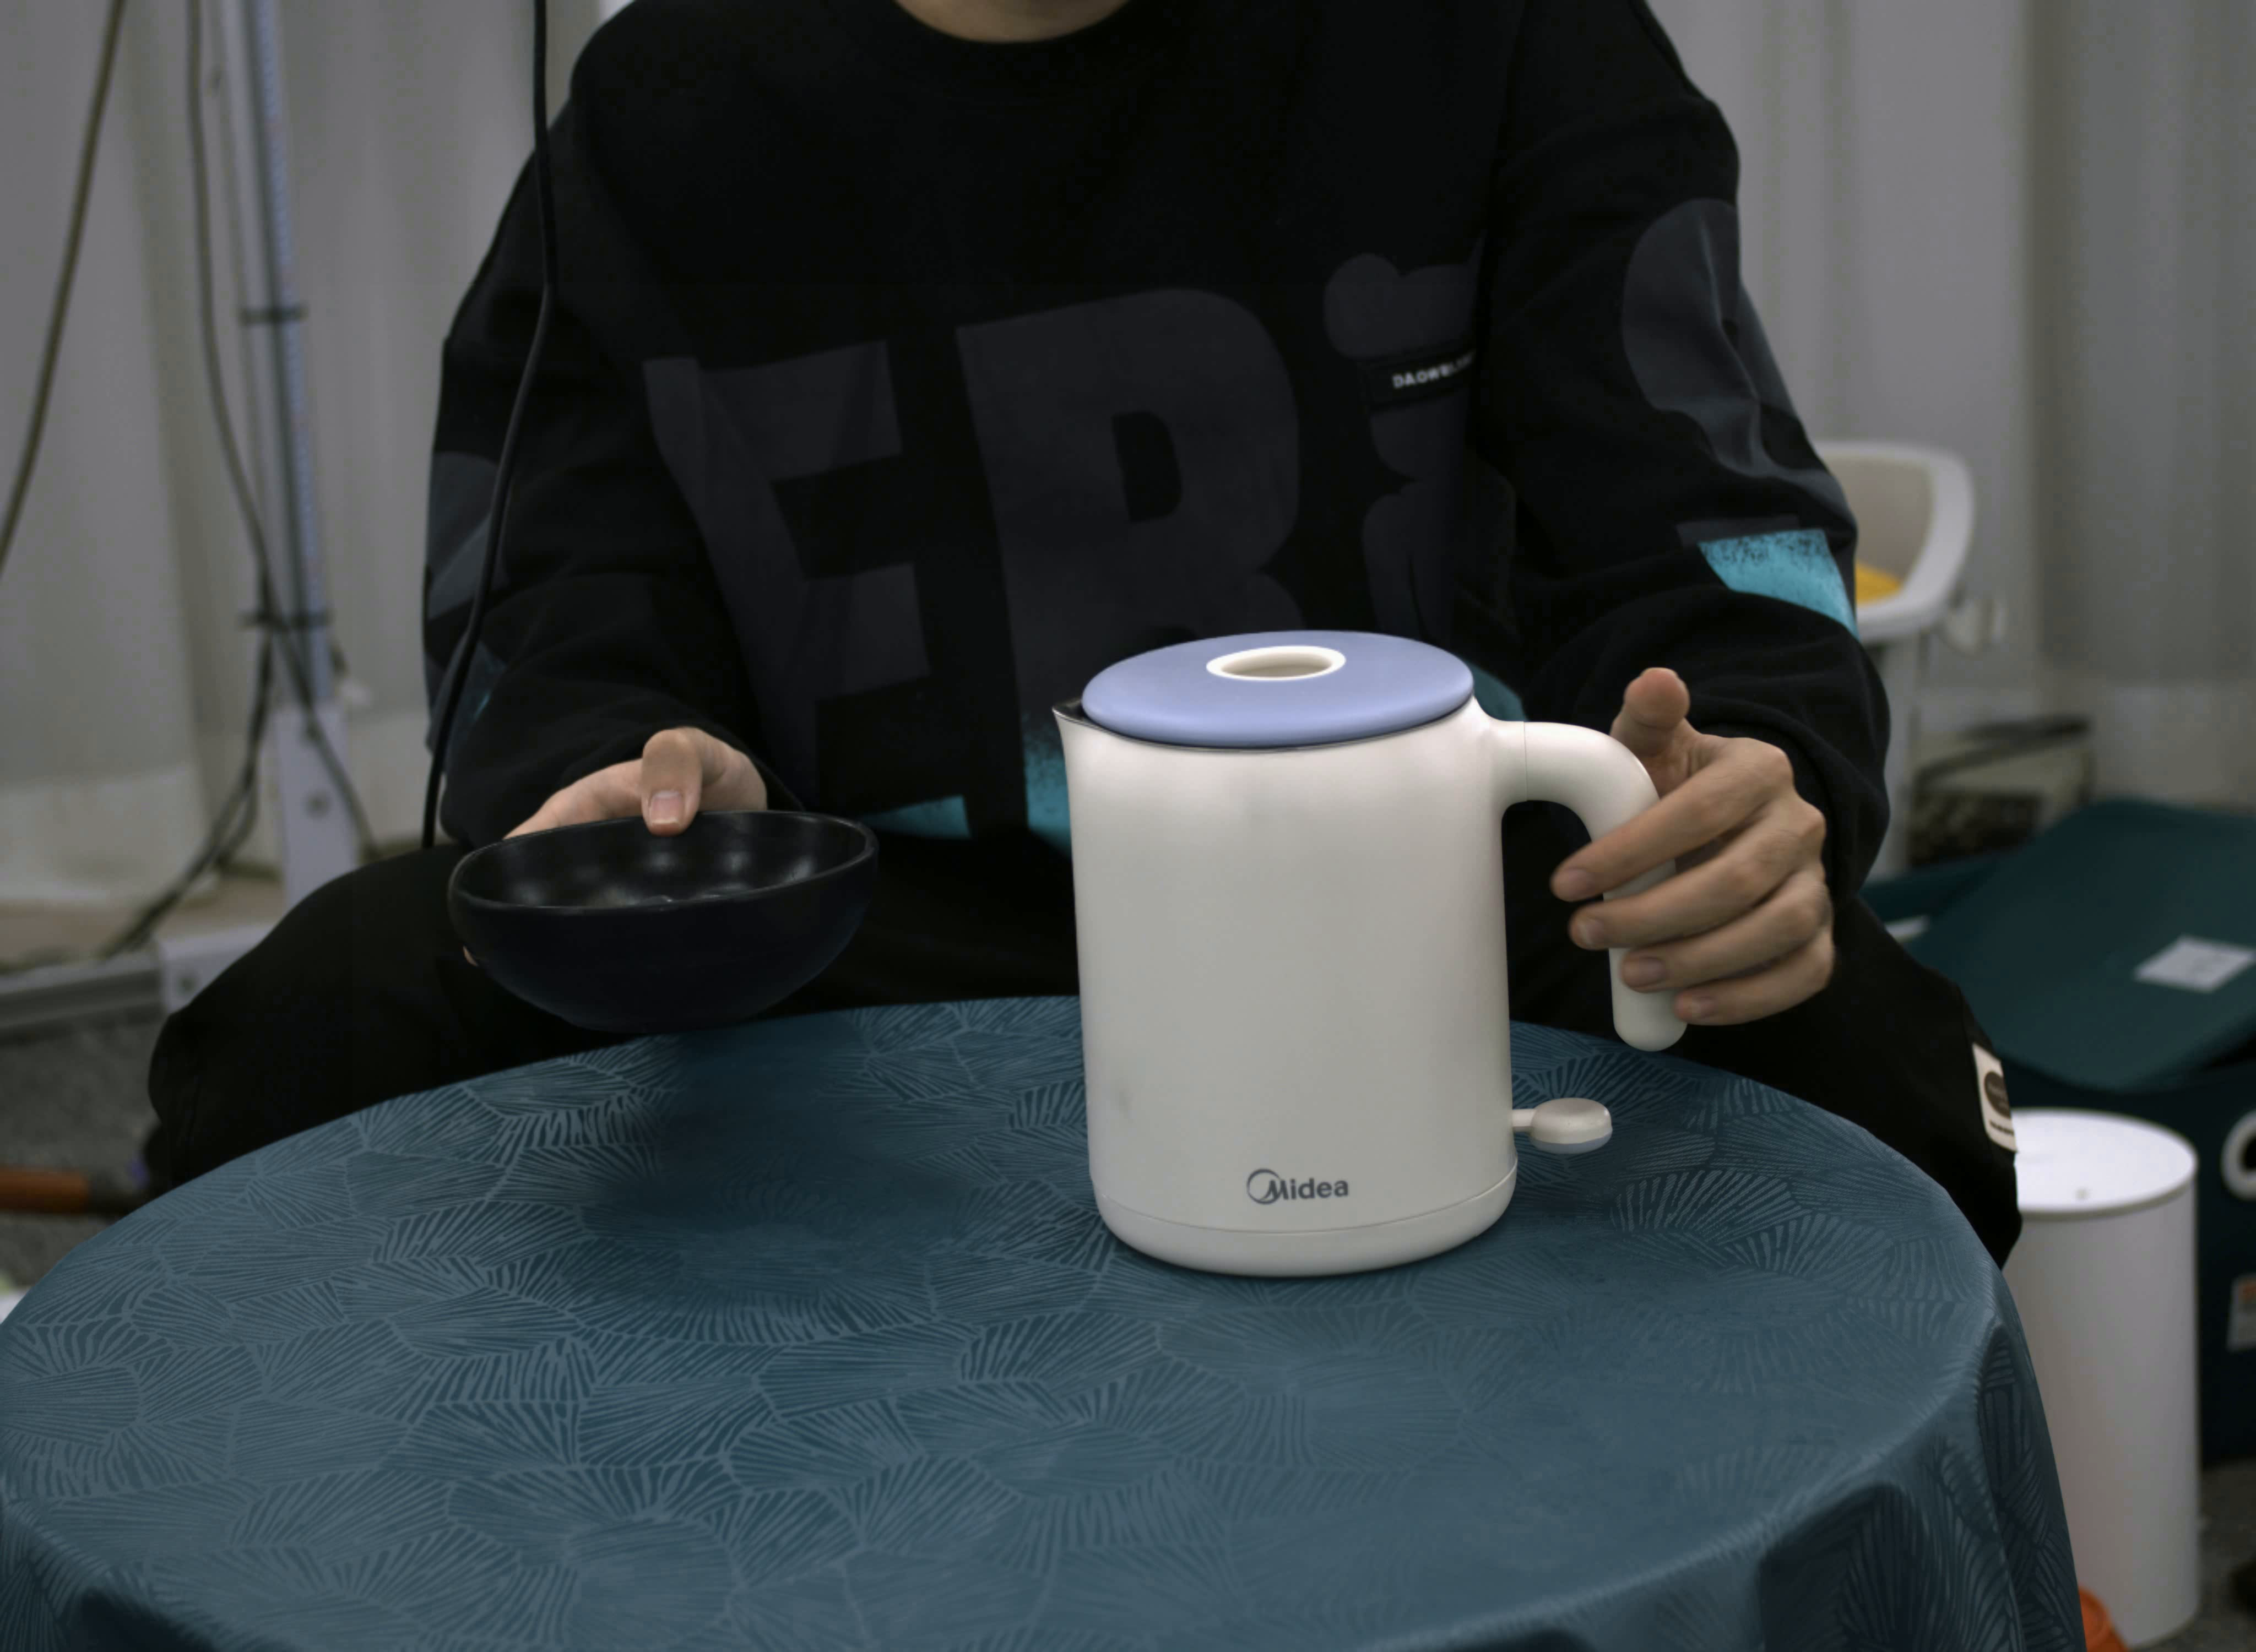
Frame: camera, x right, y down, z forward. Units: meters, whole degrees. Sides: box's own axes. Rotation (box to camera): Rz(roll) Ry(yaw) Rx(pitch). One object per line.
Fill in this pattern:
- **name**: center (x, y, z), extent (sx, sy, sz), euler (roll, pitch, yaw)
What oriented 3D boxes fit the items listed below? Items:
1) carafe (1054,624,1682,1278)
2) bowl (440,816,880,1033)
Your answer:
- **carafe**: center (0.073, 0.037, 1.663), extent (0.190, 0.182, 0.133), euler (0, 15, 1)
- **bowl**: center (-0.145, 0.034, 1.722), extent (0.139, 0.049, 0.140), euler (-4, 10, 0)
